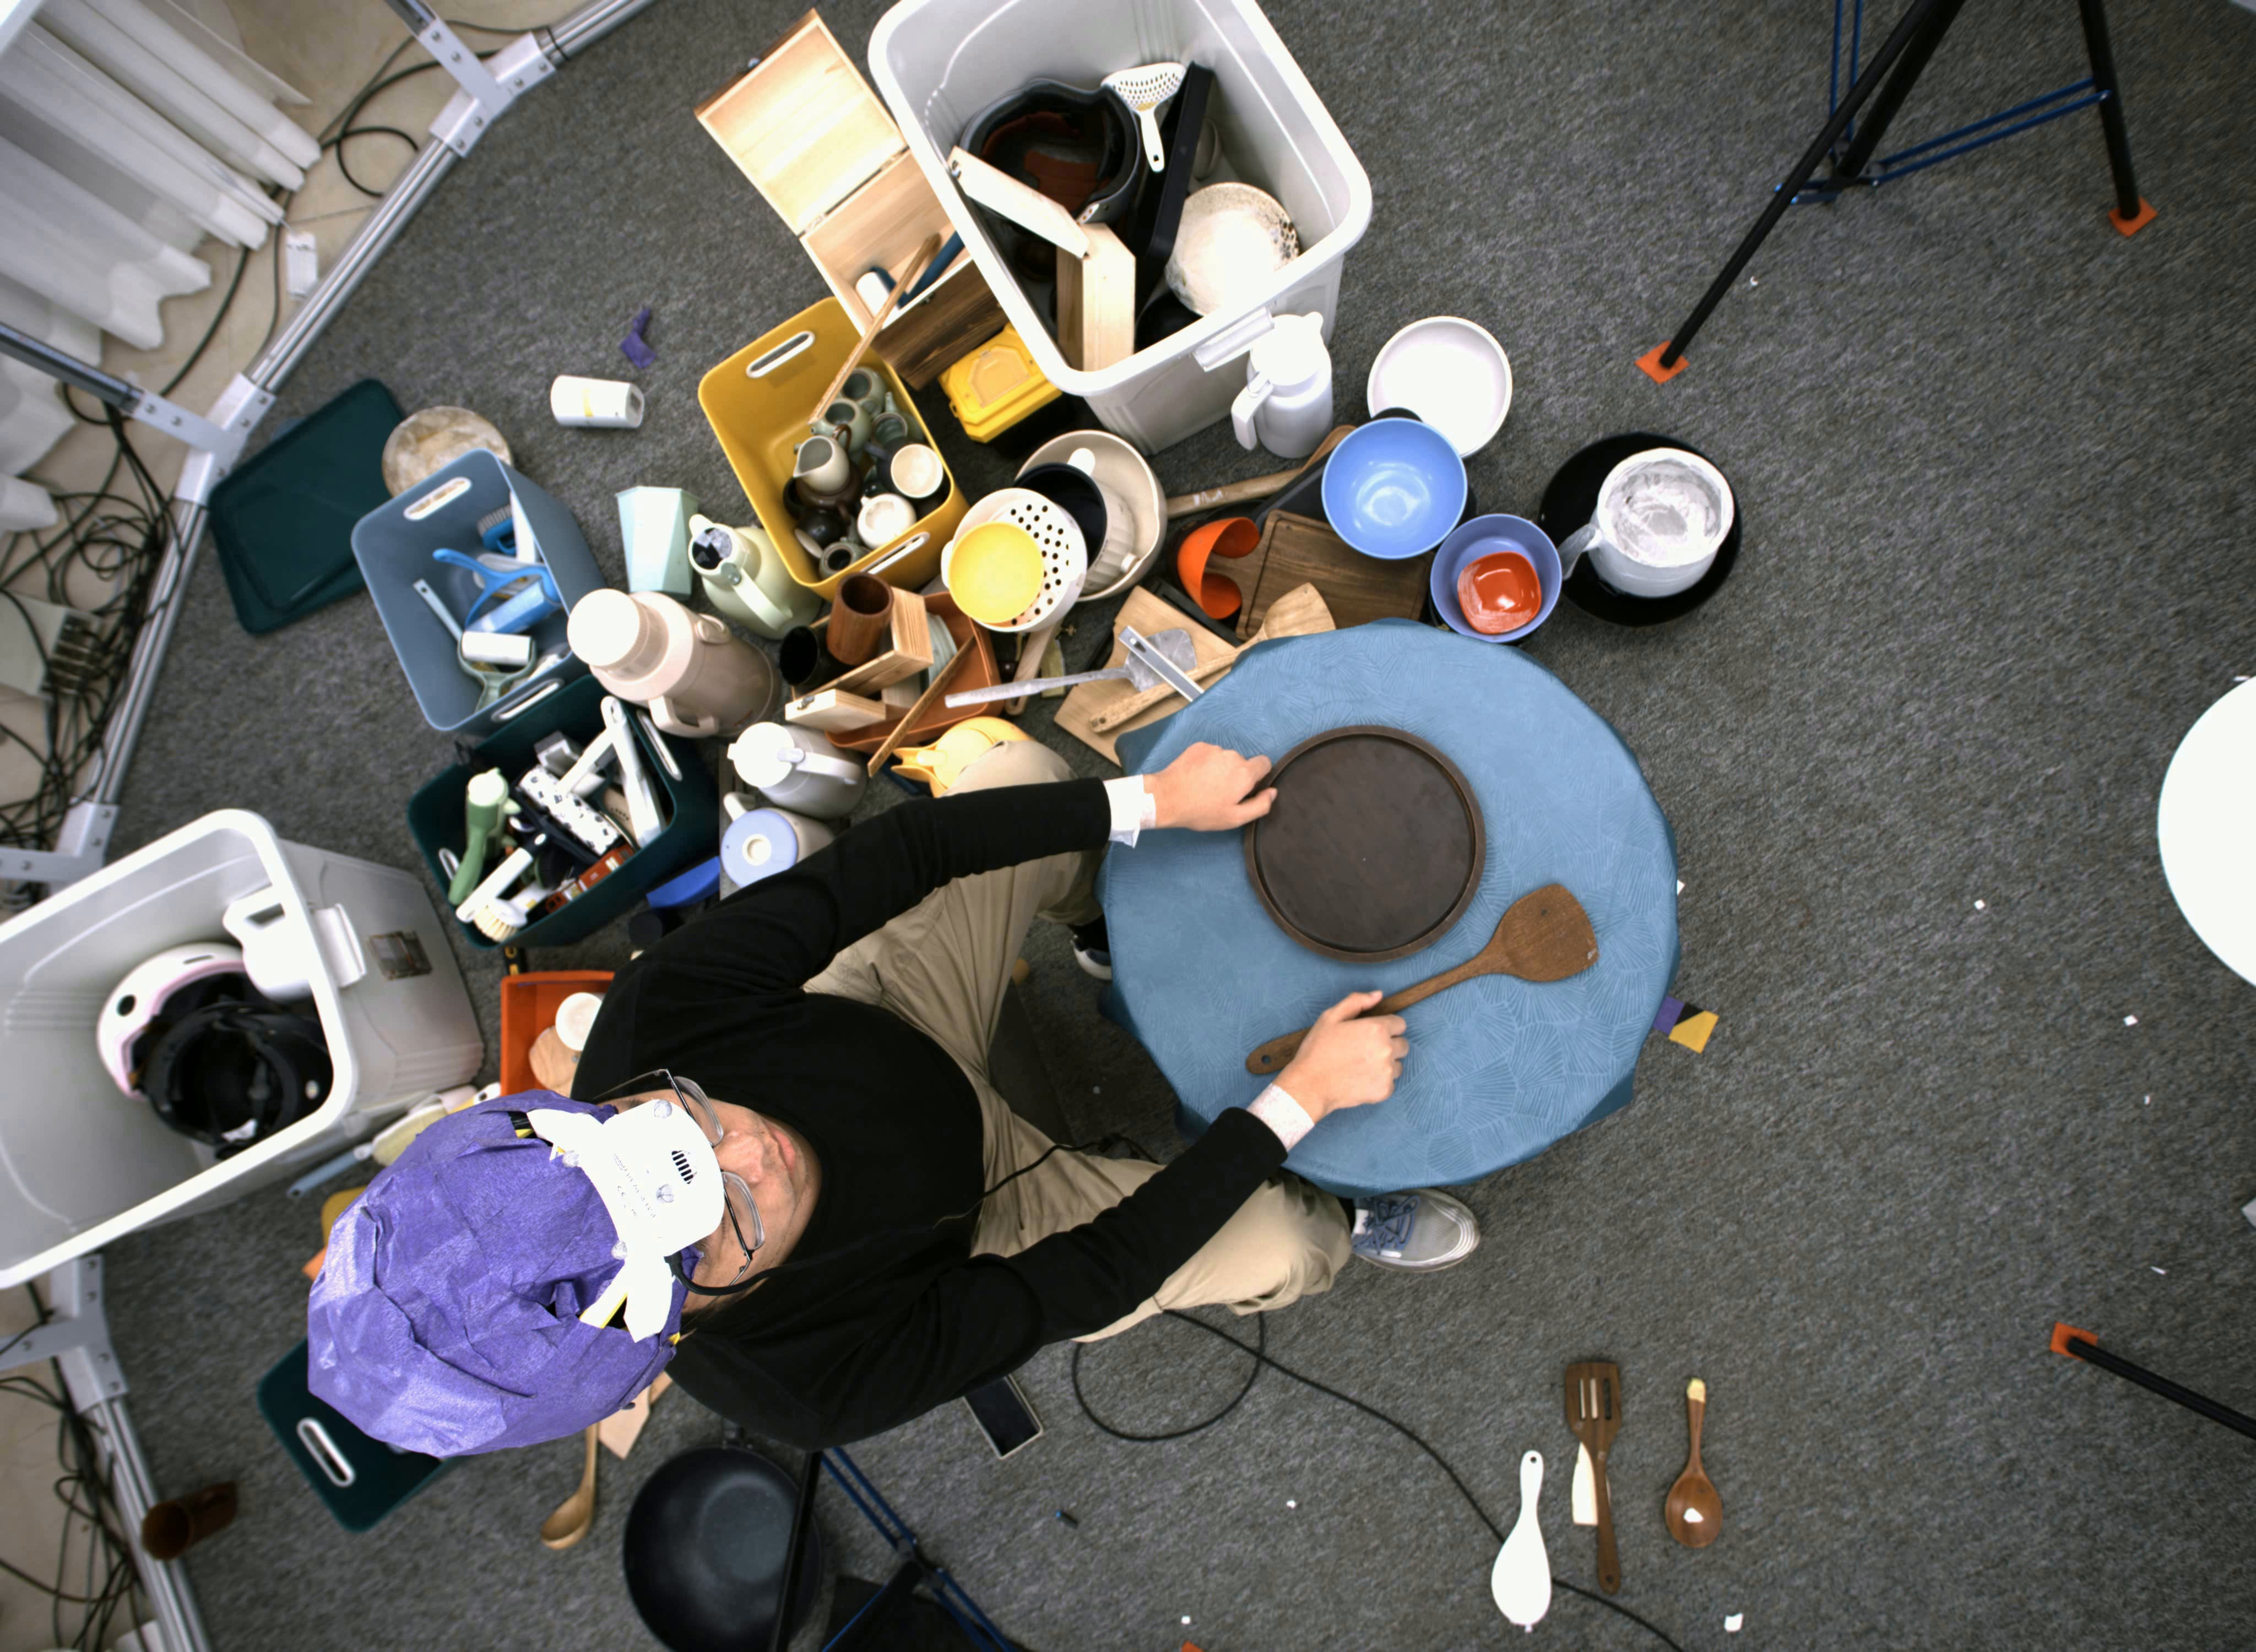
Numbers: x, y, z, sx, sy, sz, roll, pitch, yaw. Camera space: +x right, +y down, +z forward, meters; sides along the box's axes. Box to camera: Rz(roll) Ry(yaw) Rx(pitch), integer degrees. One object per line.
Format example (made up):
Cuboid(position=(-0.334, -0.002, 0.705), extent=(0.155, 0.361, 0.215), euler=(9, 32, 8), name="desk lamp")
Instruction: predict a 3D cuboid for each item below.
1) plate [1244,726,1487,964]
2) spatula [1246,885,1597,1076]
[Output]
Cuboid(position=(0.249, 0.018, 1.456), extent=(0.256, 0.029, 0.253), euler=(-1, 86, 9), name="plate")
Cuboid(position=(0.299, 0.174, 1.442), extent=(0.388, 0.016, 0.095), euler=(-25, 82, 8), name="spatula")
